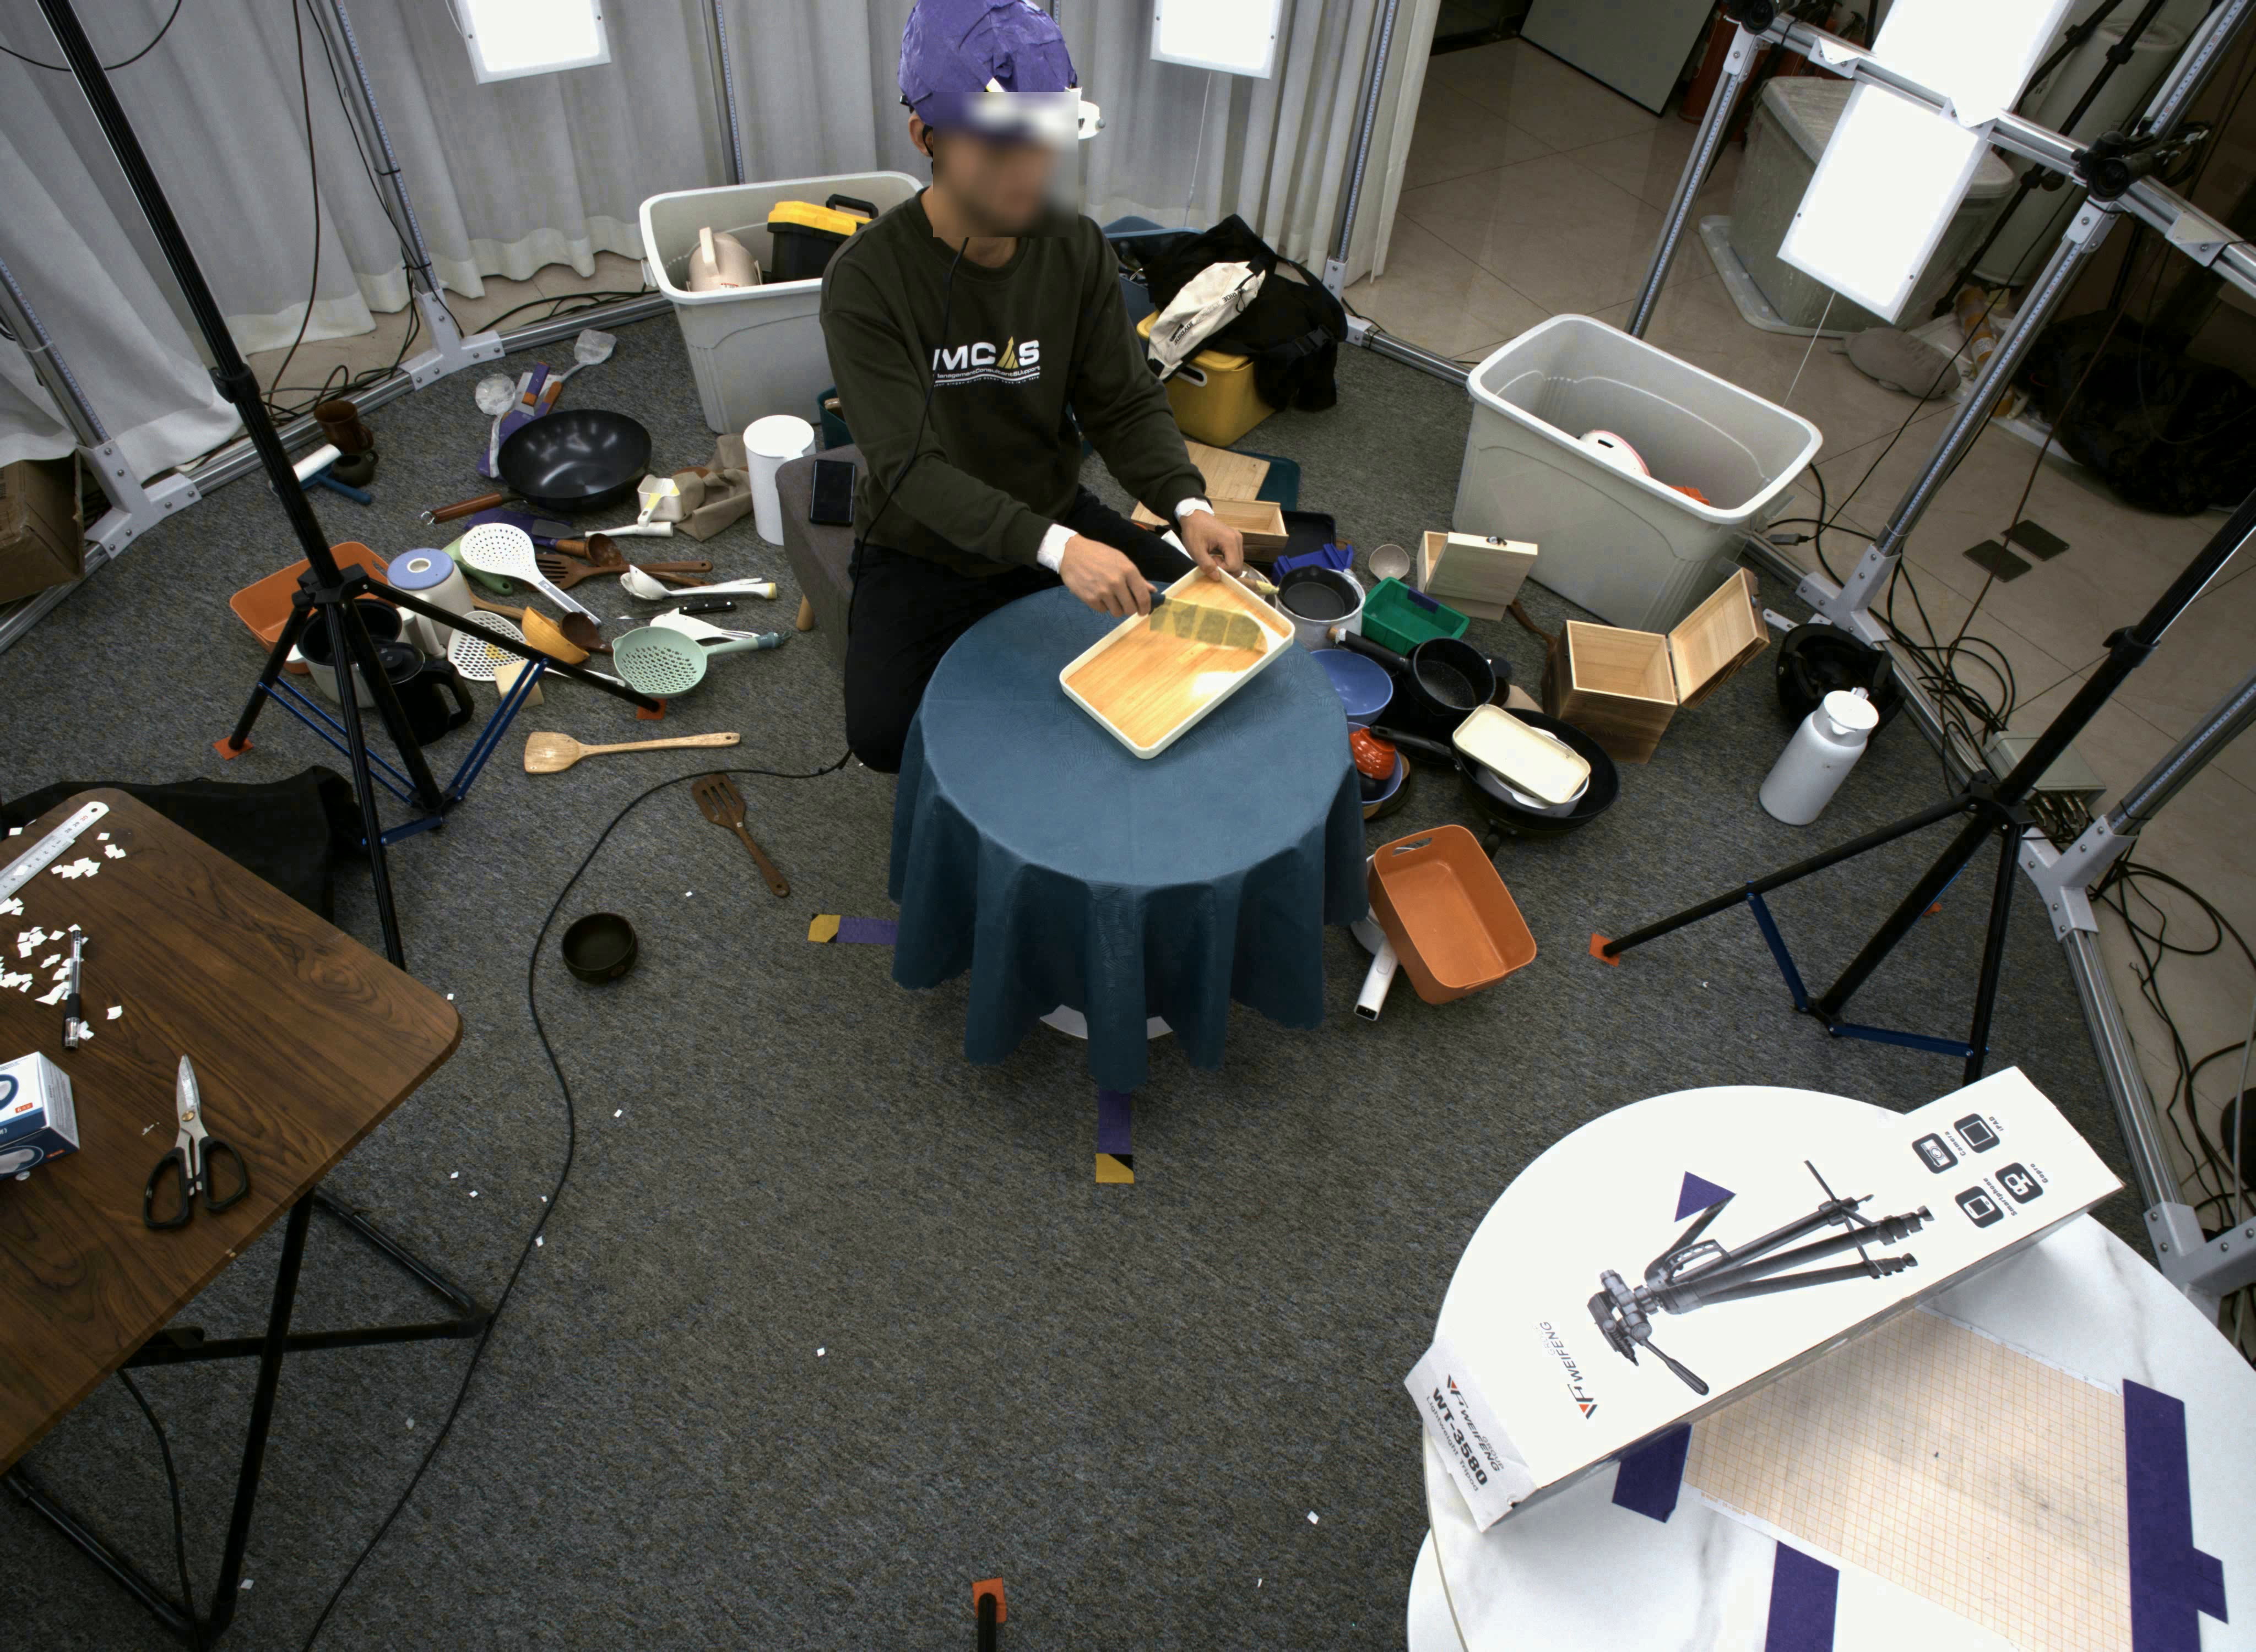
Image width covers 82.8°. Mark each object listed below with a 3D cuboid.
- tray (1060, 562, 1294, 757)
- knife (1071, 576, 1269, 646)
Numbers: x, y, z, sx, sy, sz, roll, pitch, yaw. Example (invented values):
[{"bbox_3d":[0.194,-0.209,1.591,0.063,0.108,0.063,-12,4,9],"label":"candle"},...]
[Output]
[{"bbox_3d":[0.070,-0.241,1.820,0.302,0.027,0.195,-39,61,-17],"label":"tray"},{"bbox_3d":[0.059,-0.300,1.801,0.289,0.079,0.028,14,52,-1],"label":"knife"}]
